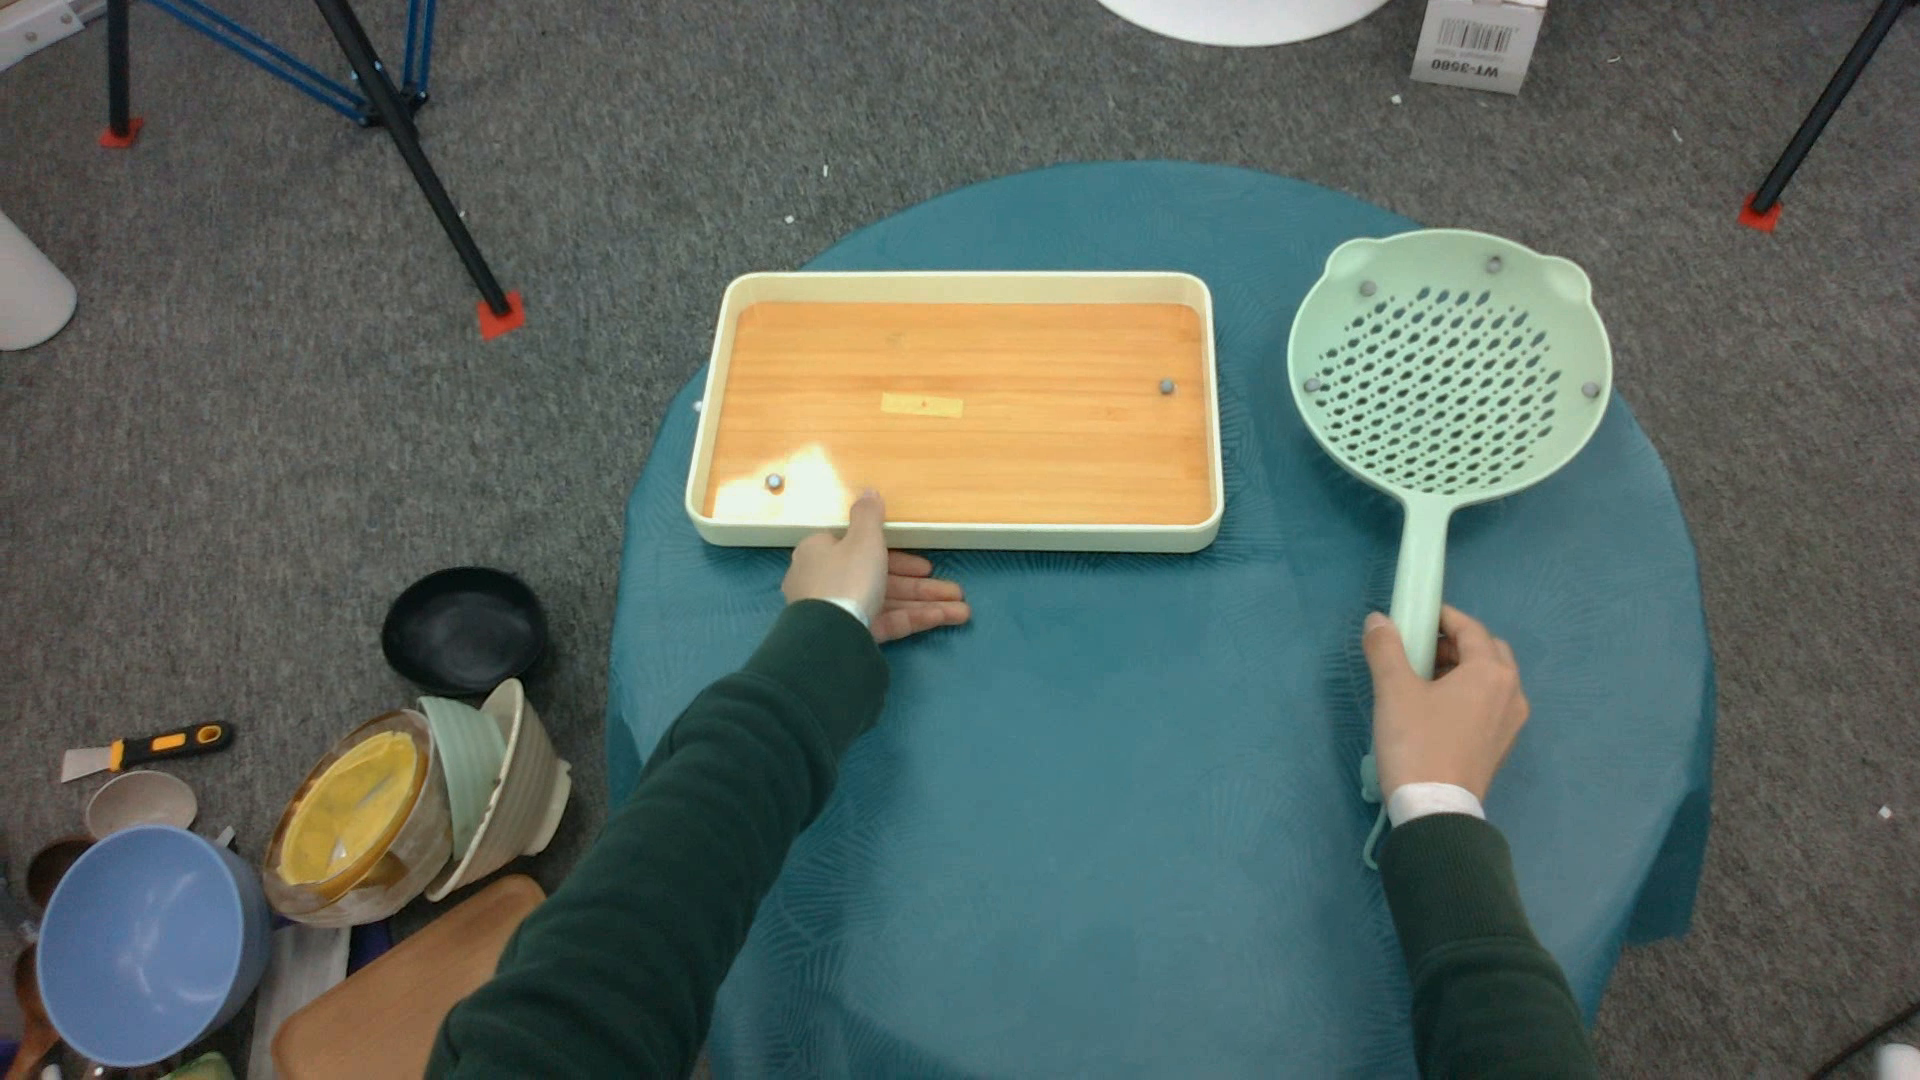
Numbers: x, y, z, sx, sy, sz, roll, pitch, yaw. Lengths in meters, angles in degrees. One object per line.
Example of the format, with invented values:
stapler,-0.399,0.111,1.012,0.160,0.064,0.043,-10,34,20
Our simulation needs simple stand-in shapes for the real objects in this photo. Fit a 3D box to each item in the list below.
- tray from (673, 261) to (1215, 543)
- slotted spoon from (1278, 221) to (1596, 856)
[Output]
tray,-0.006,-0.085,0.807,0.300,0.027,0.192,1,57,4
slotted spoon,0.241,-0.013,0.736,0.169,0.075,0.360,9,60,13
